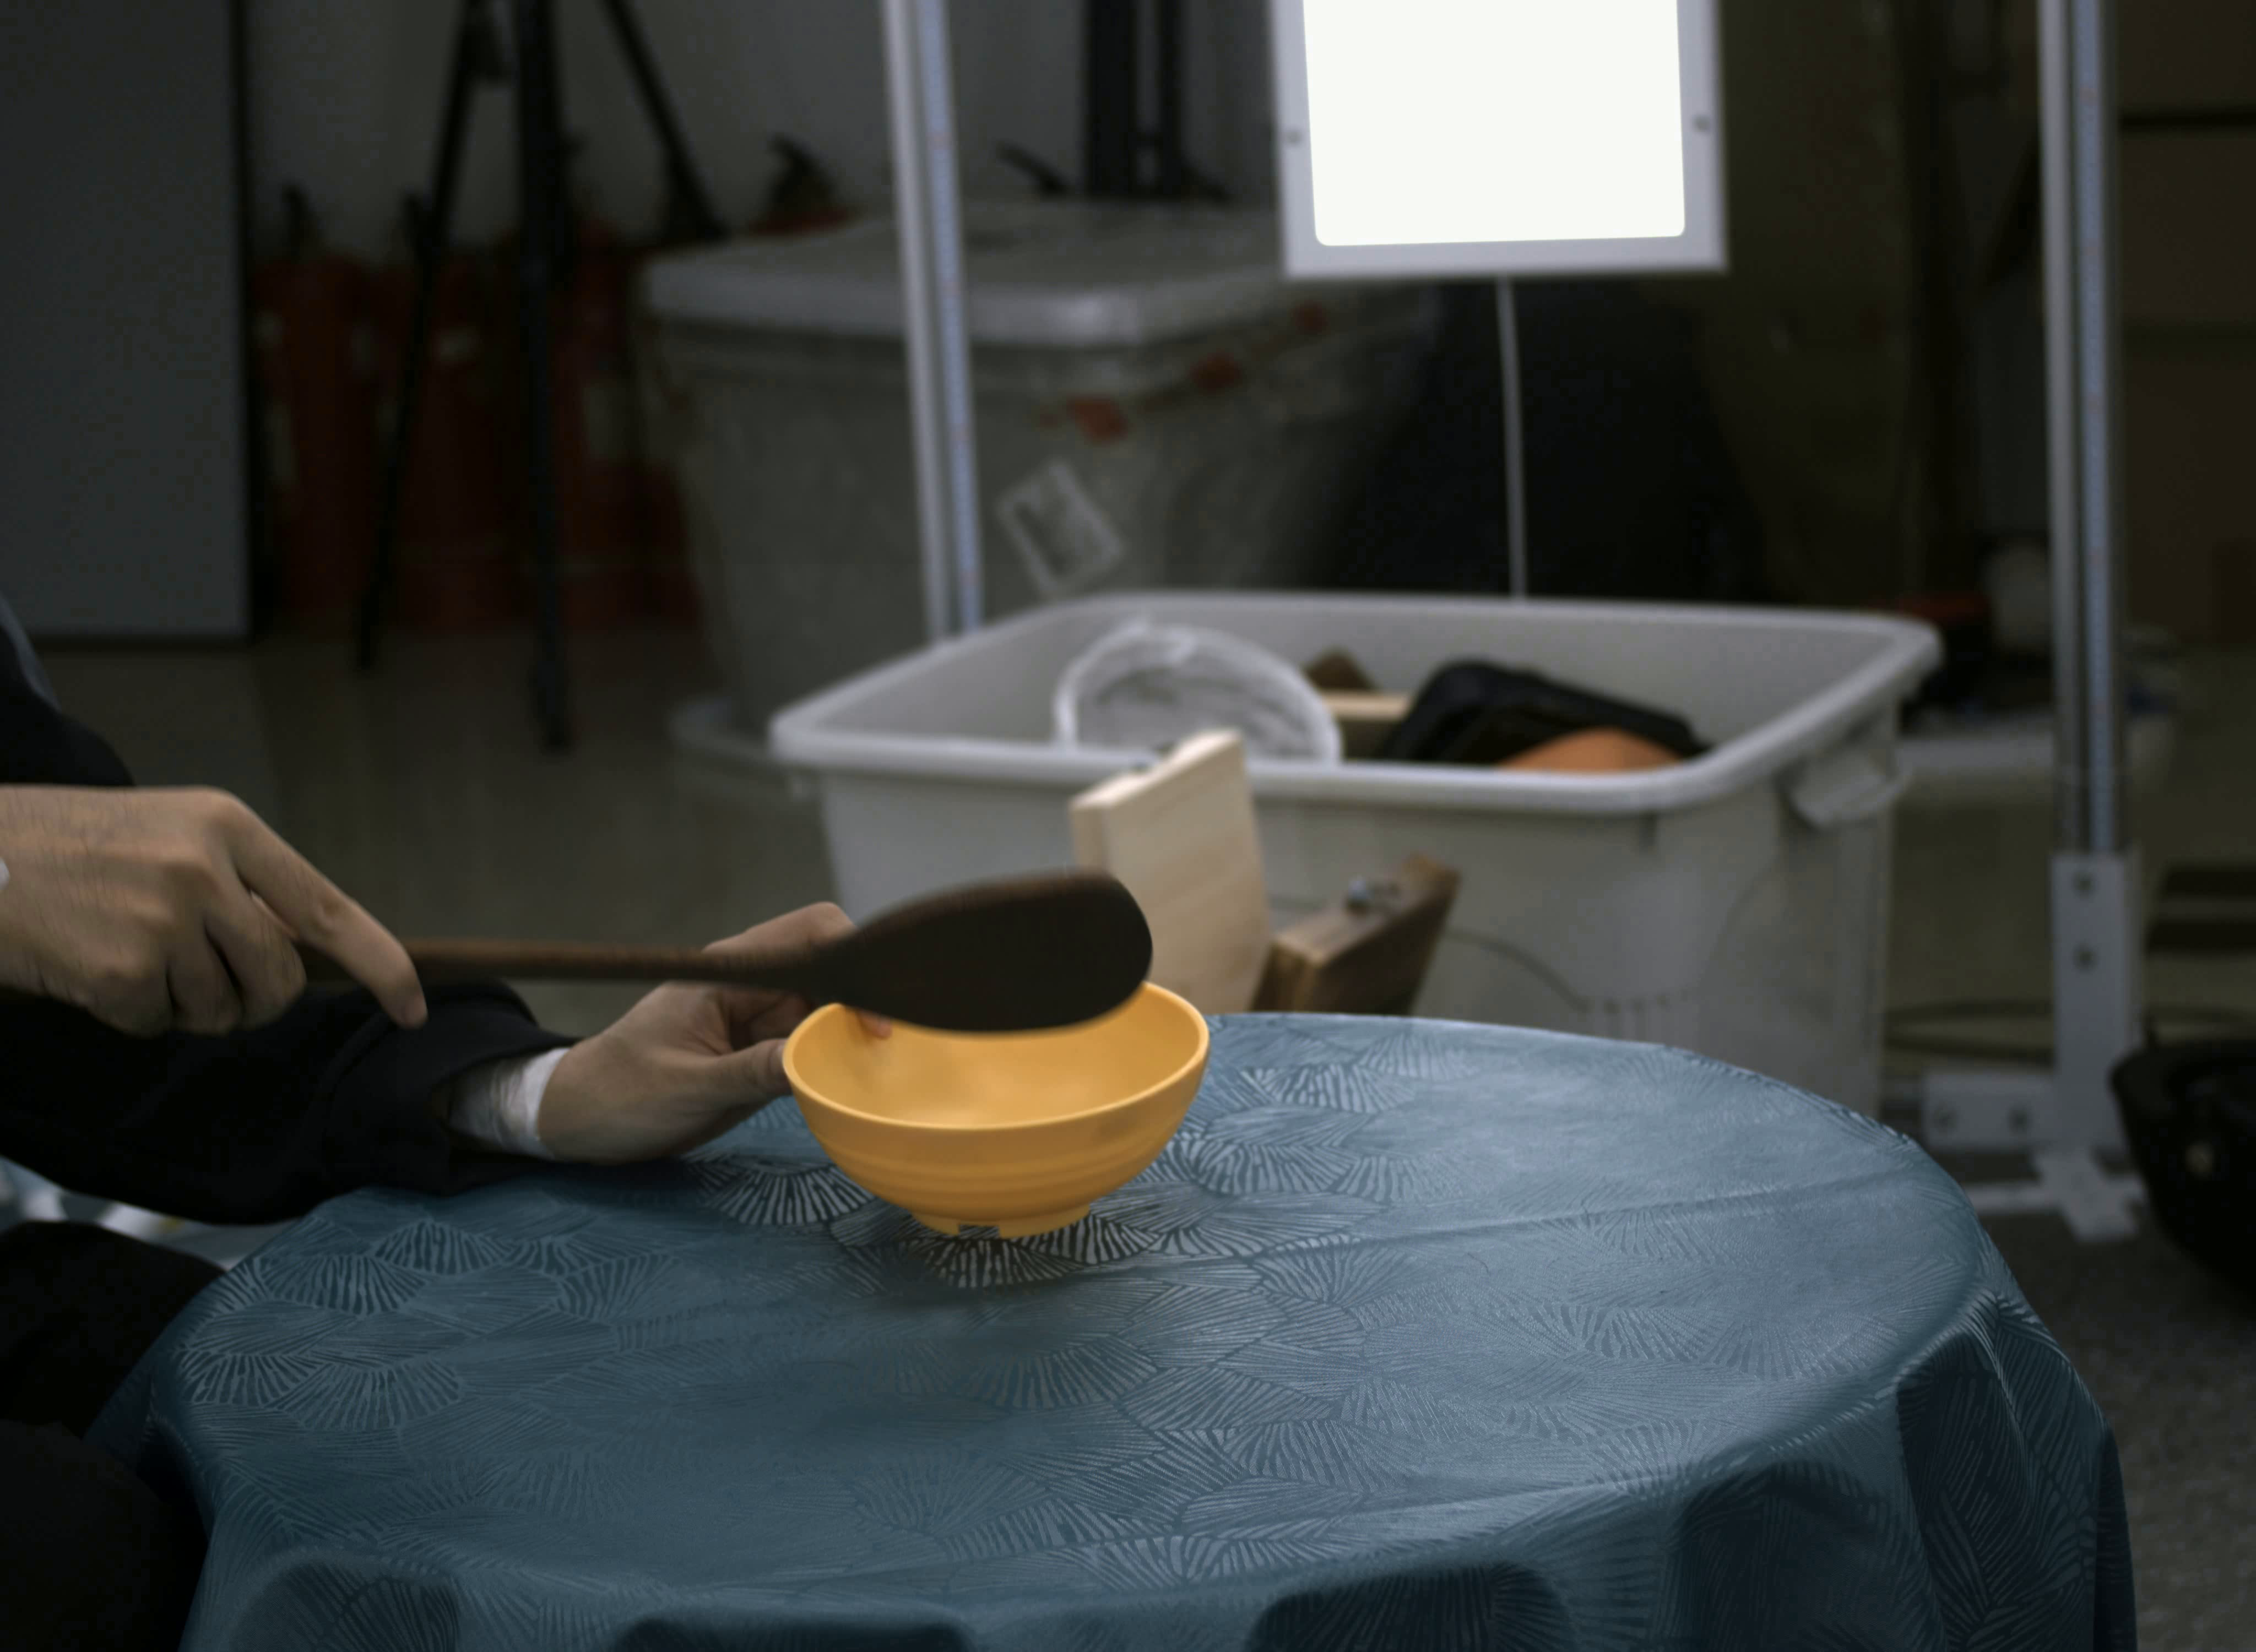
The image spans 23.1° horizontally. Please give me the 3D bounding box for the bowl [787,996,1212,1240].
[{"bbox_3d":[-0.043,0.102,1.863,0.145,0.060,0.145,-2,16,-1],"label":"bowl"}]

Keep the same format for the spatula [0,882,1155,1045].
[{"bbox_3d":[-0.184,0.045,1.729,0.386,0.016,0.096,0,-29,4],"label":"spatula"}]
